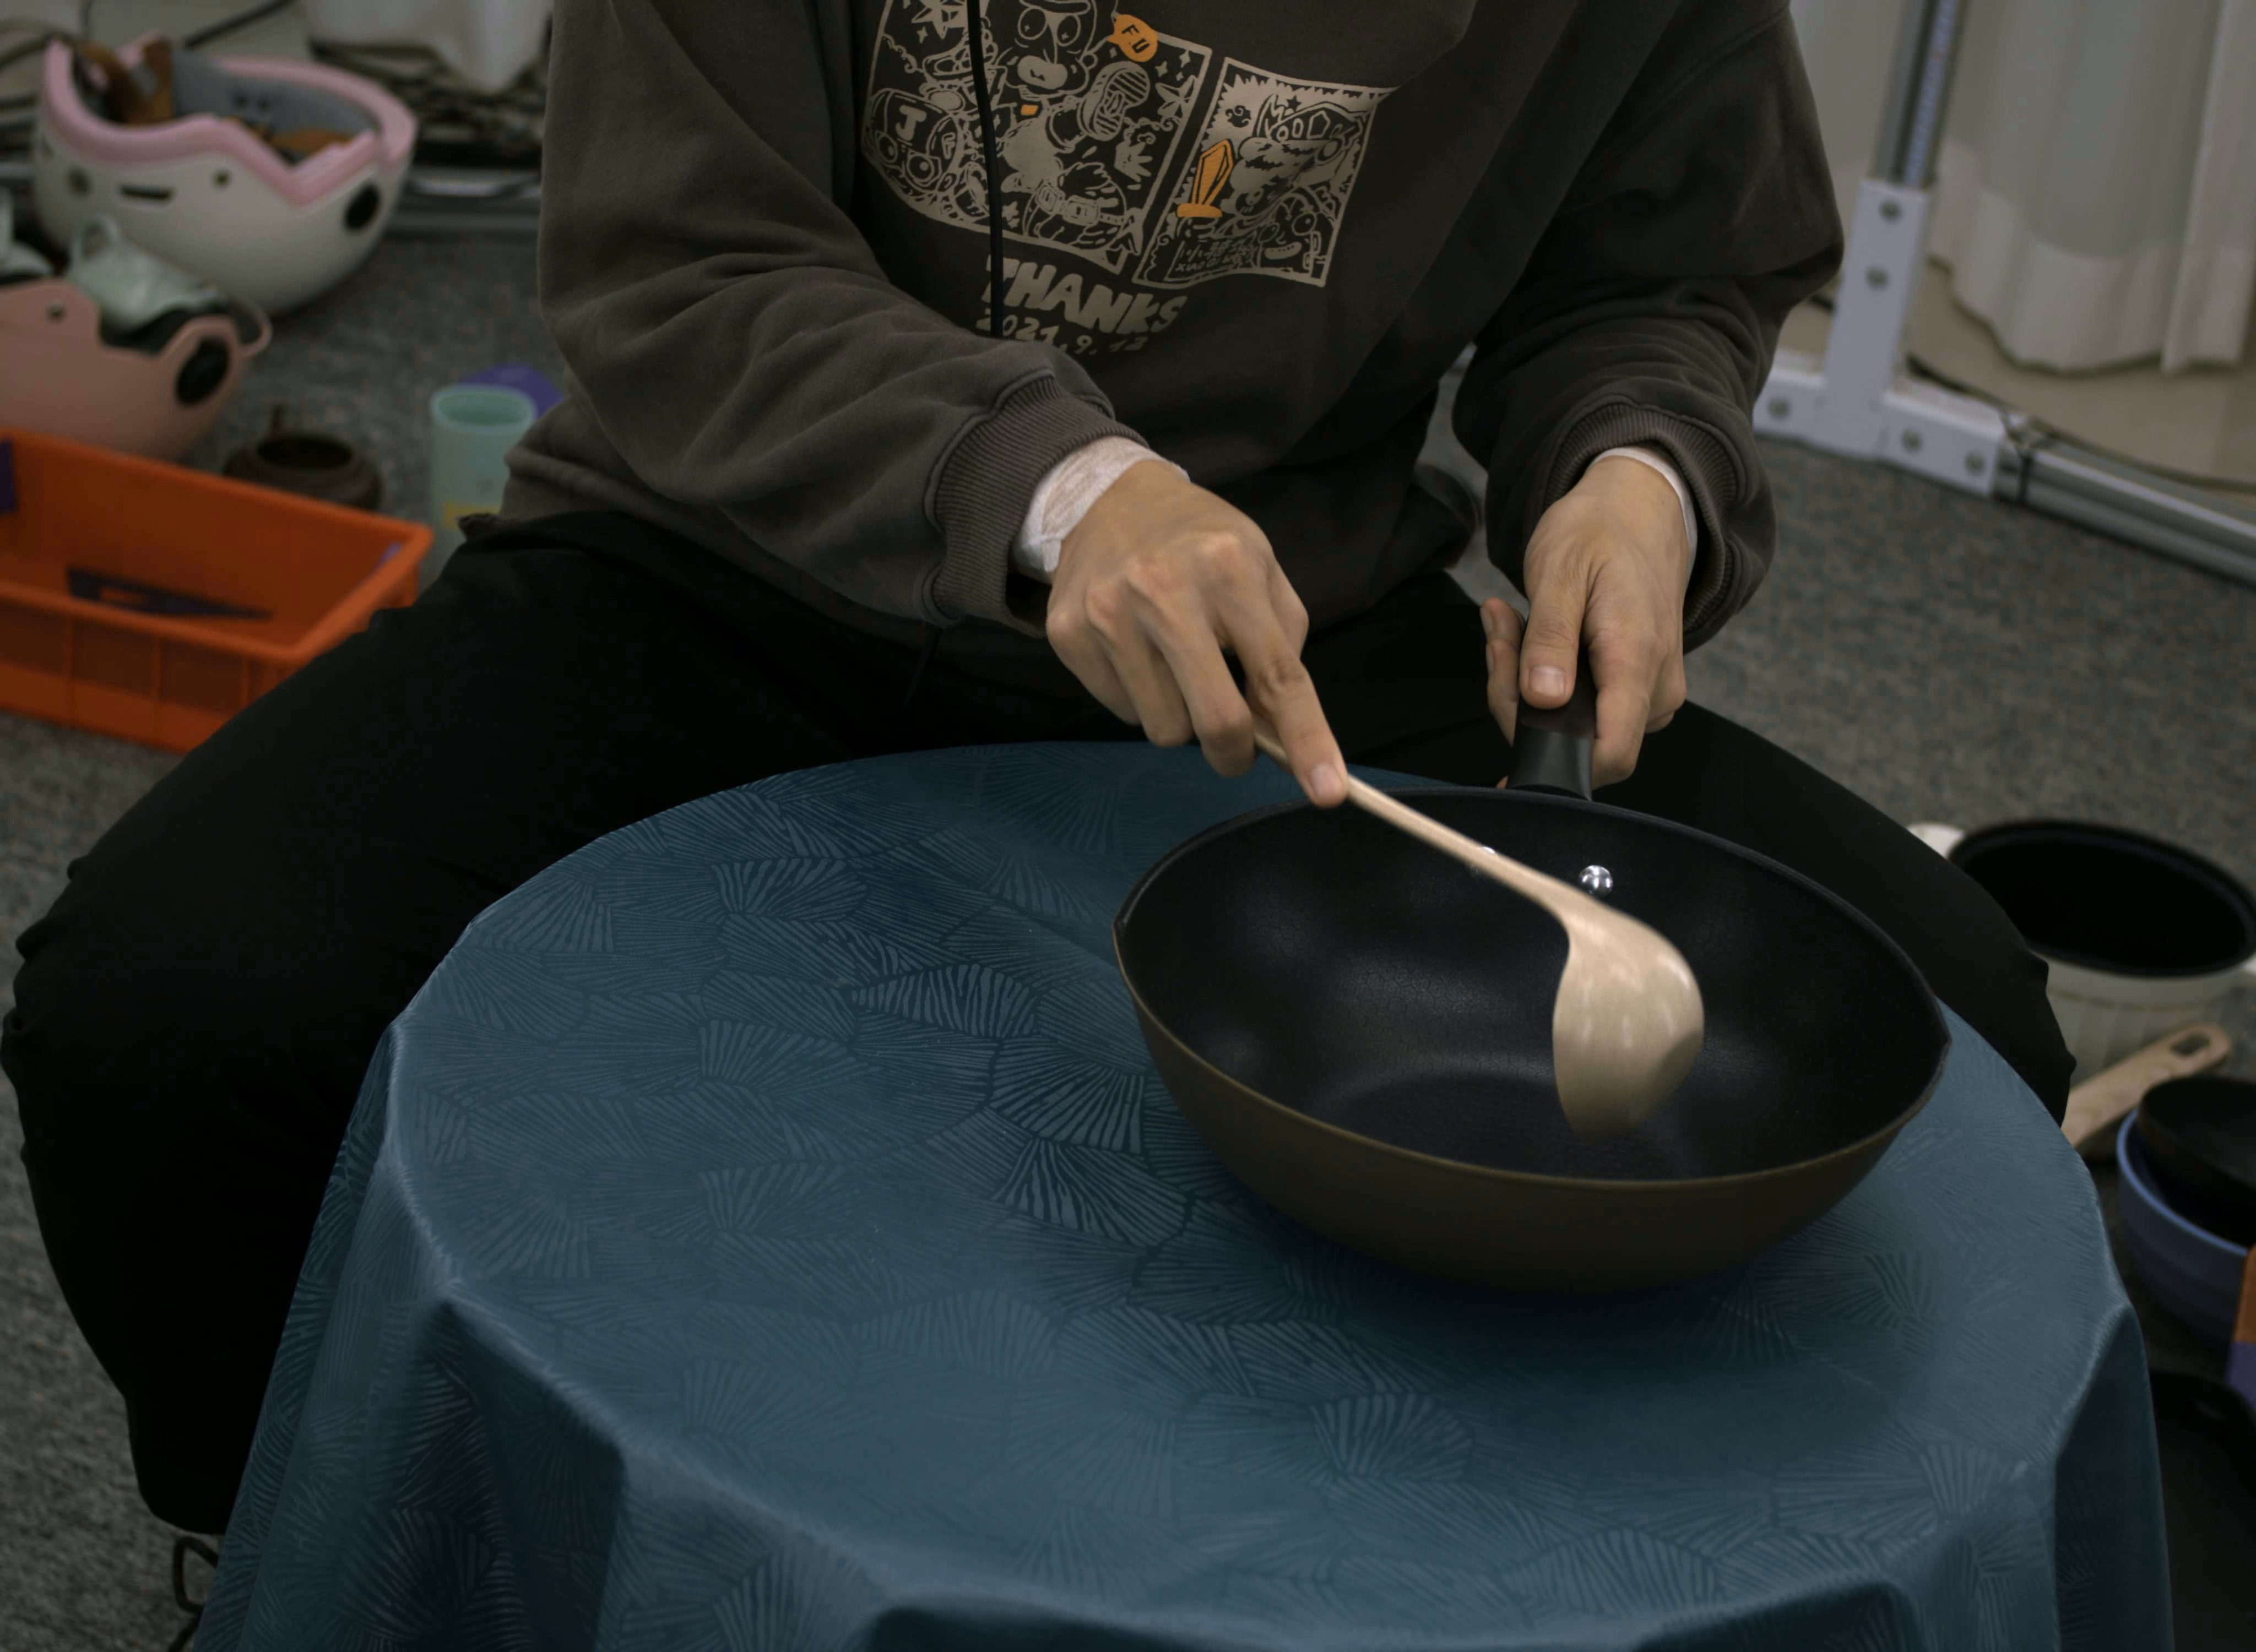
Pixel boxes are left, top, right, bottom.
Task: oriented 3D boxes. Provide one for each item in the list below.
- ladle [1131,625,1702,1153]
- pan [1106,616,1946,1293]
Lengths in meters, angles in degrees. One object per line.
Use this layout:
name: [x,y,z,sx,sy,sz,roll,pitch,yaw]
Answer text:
ladle: [0.087,0.023,1.845,0.256,0.072,0.072,34,29,26]
pan: [0.141,0.046,1.900,0.287,0.086,0.465,8,25,4]
